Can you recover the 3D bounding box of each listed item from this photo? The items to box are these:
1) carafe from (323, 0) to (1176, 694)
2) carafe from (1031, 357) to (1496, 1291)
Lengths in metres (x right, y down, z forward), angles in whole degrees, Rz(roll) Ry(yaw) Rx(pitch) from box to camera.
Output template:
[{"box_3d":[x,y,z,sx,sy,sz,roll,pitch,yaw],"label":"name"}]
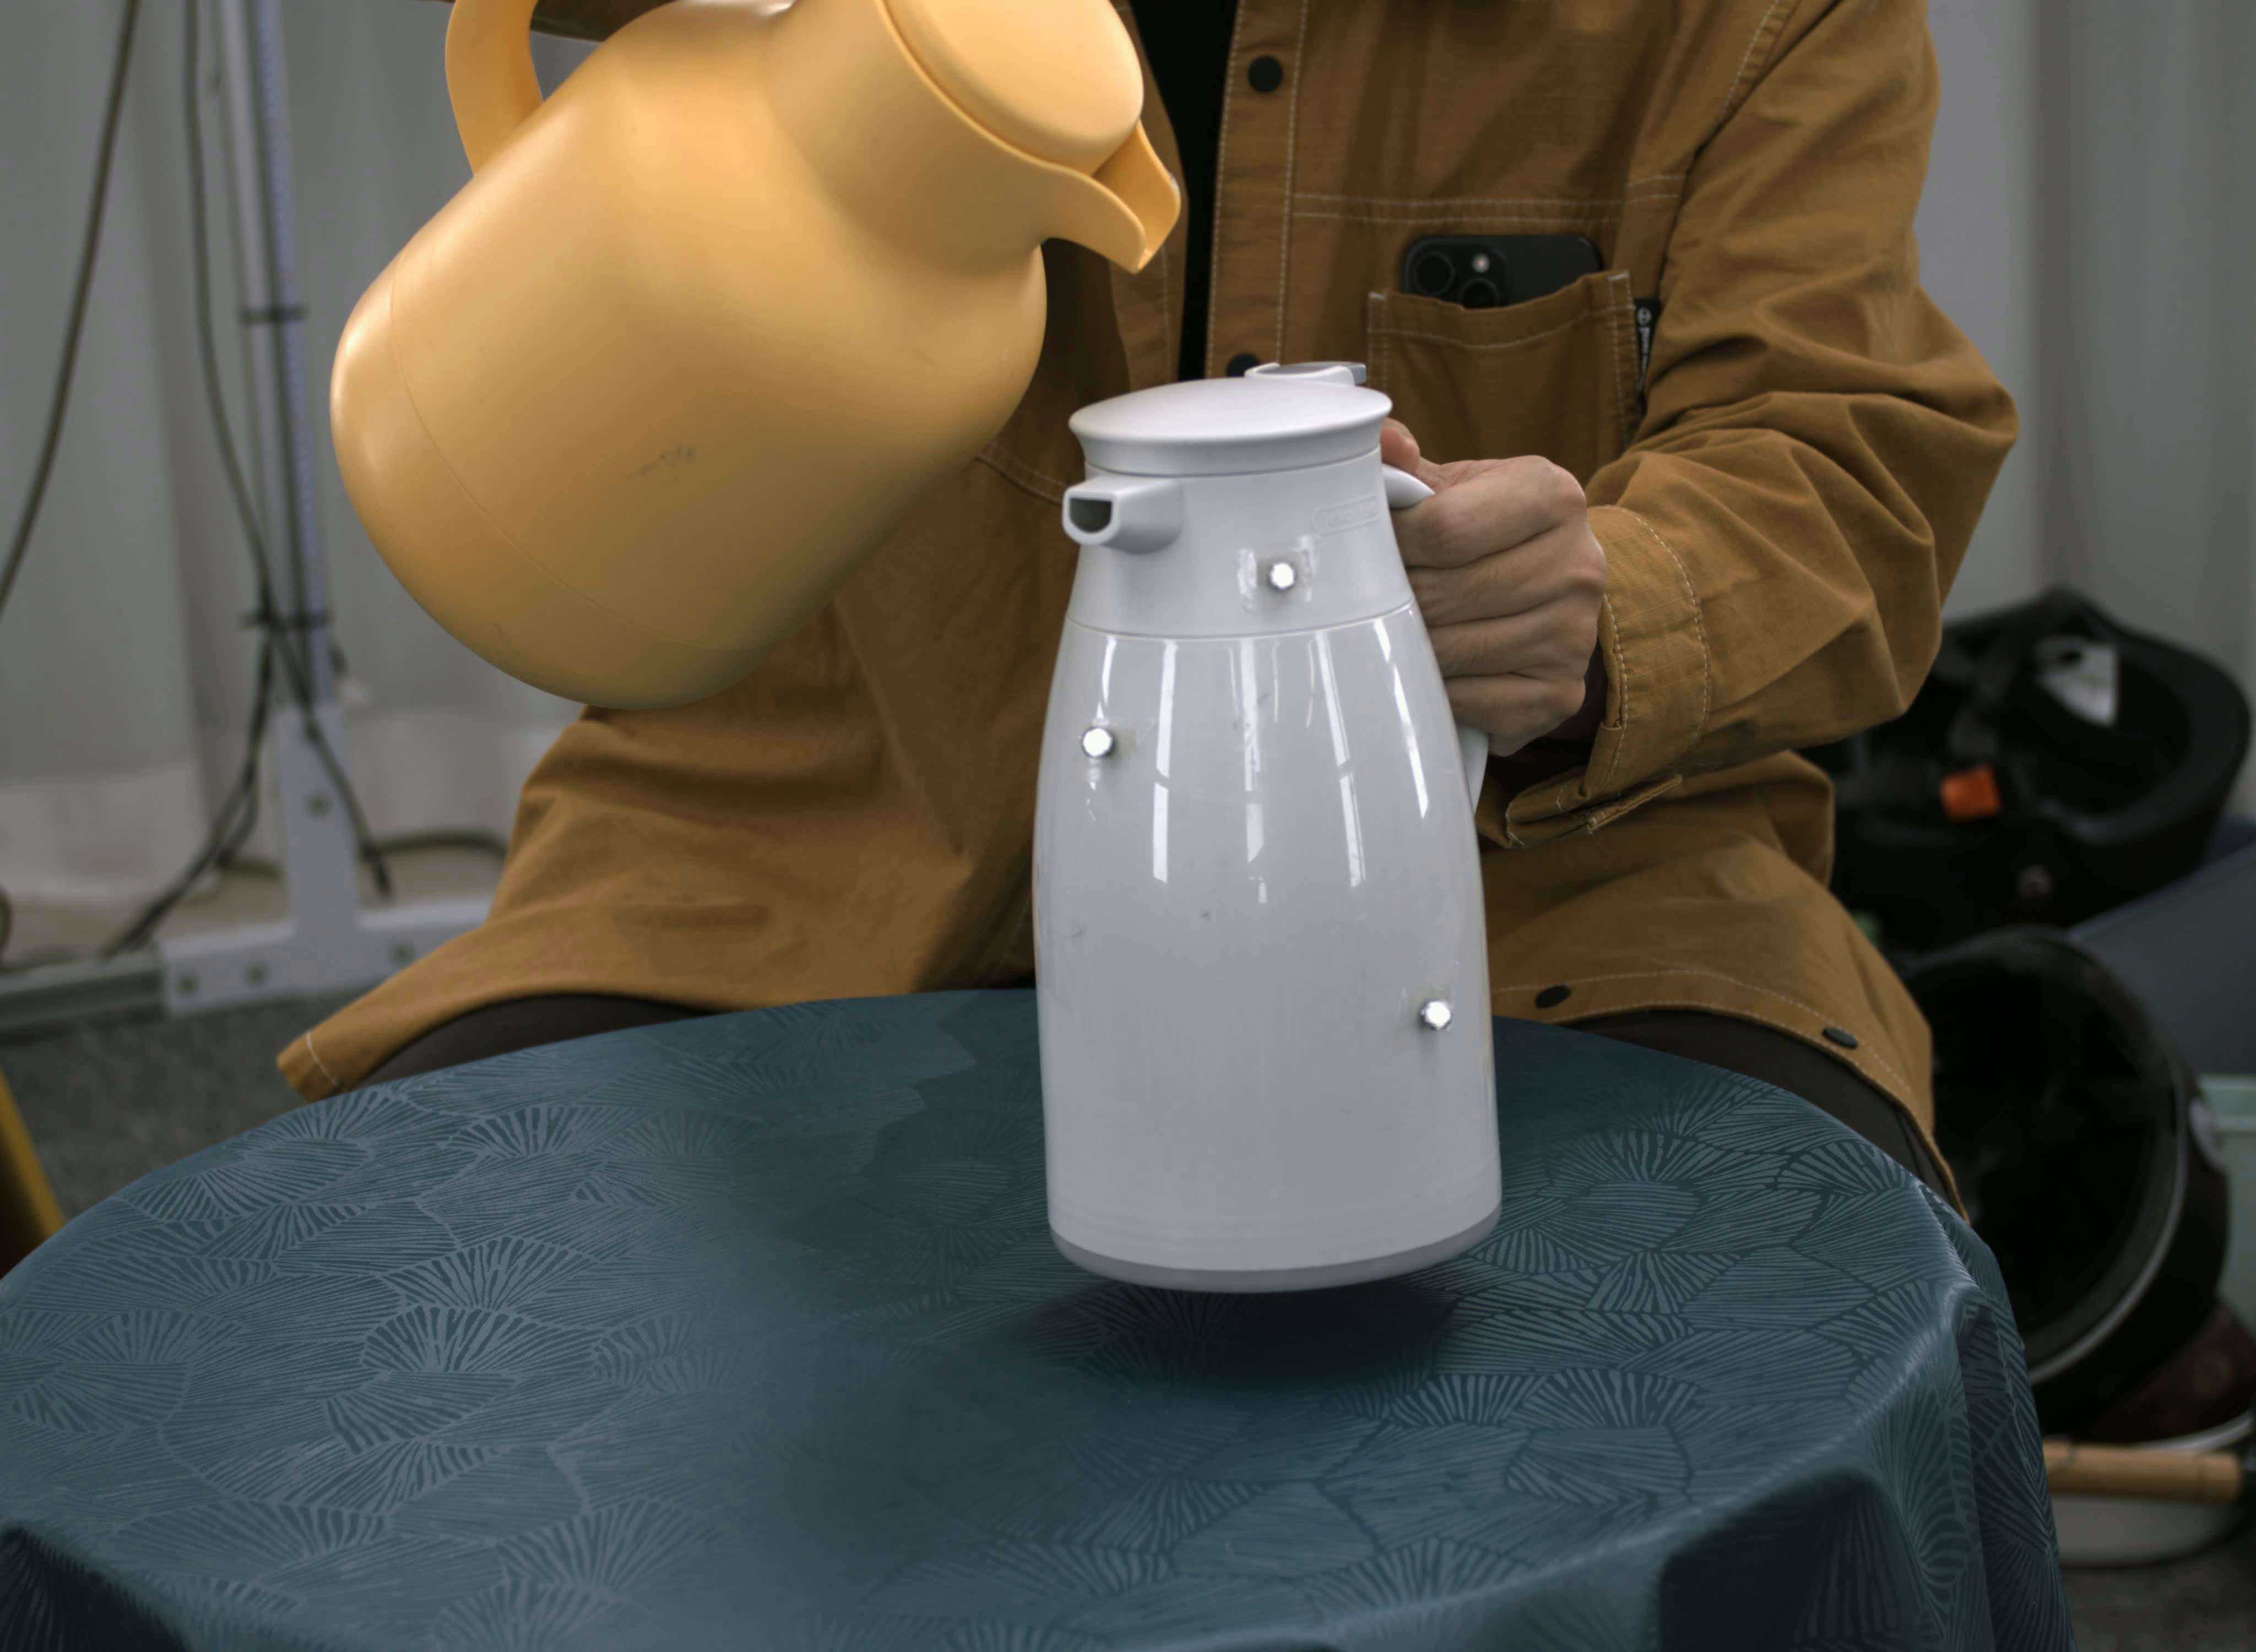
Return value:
[{"box_3d":[-0.119,-0.177,1.596,0.259,0.202,0.164,-38,1,33],"label":"carafe"},{"box_3d":[0.047,-0.009,1.579,0.133,0.248,0.167,7,15,40],"label":"carafe"}]
